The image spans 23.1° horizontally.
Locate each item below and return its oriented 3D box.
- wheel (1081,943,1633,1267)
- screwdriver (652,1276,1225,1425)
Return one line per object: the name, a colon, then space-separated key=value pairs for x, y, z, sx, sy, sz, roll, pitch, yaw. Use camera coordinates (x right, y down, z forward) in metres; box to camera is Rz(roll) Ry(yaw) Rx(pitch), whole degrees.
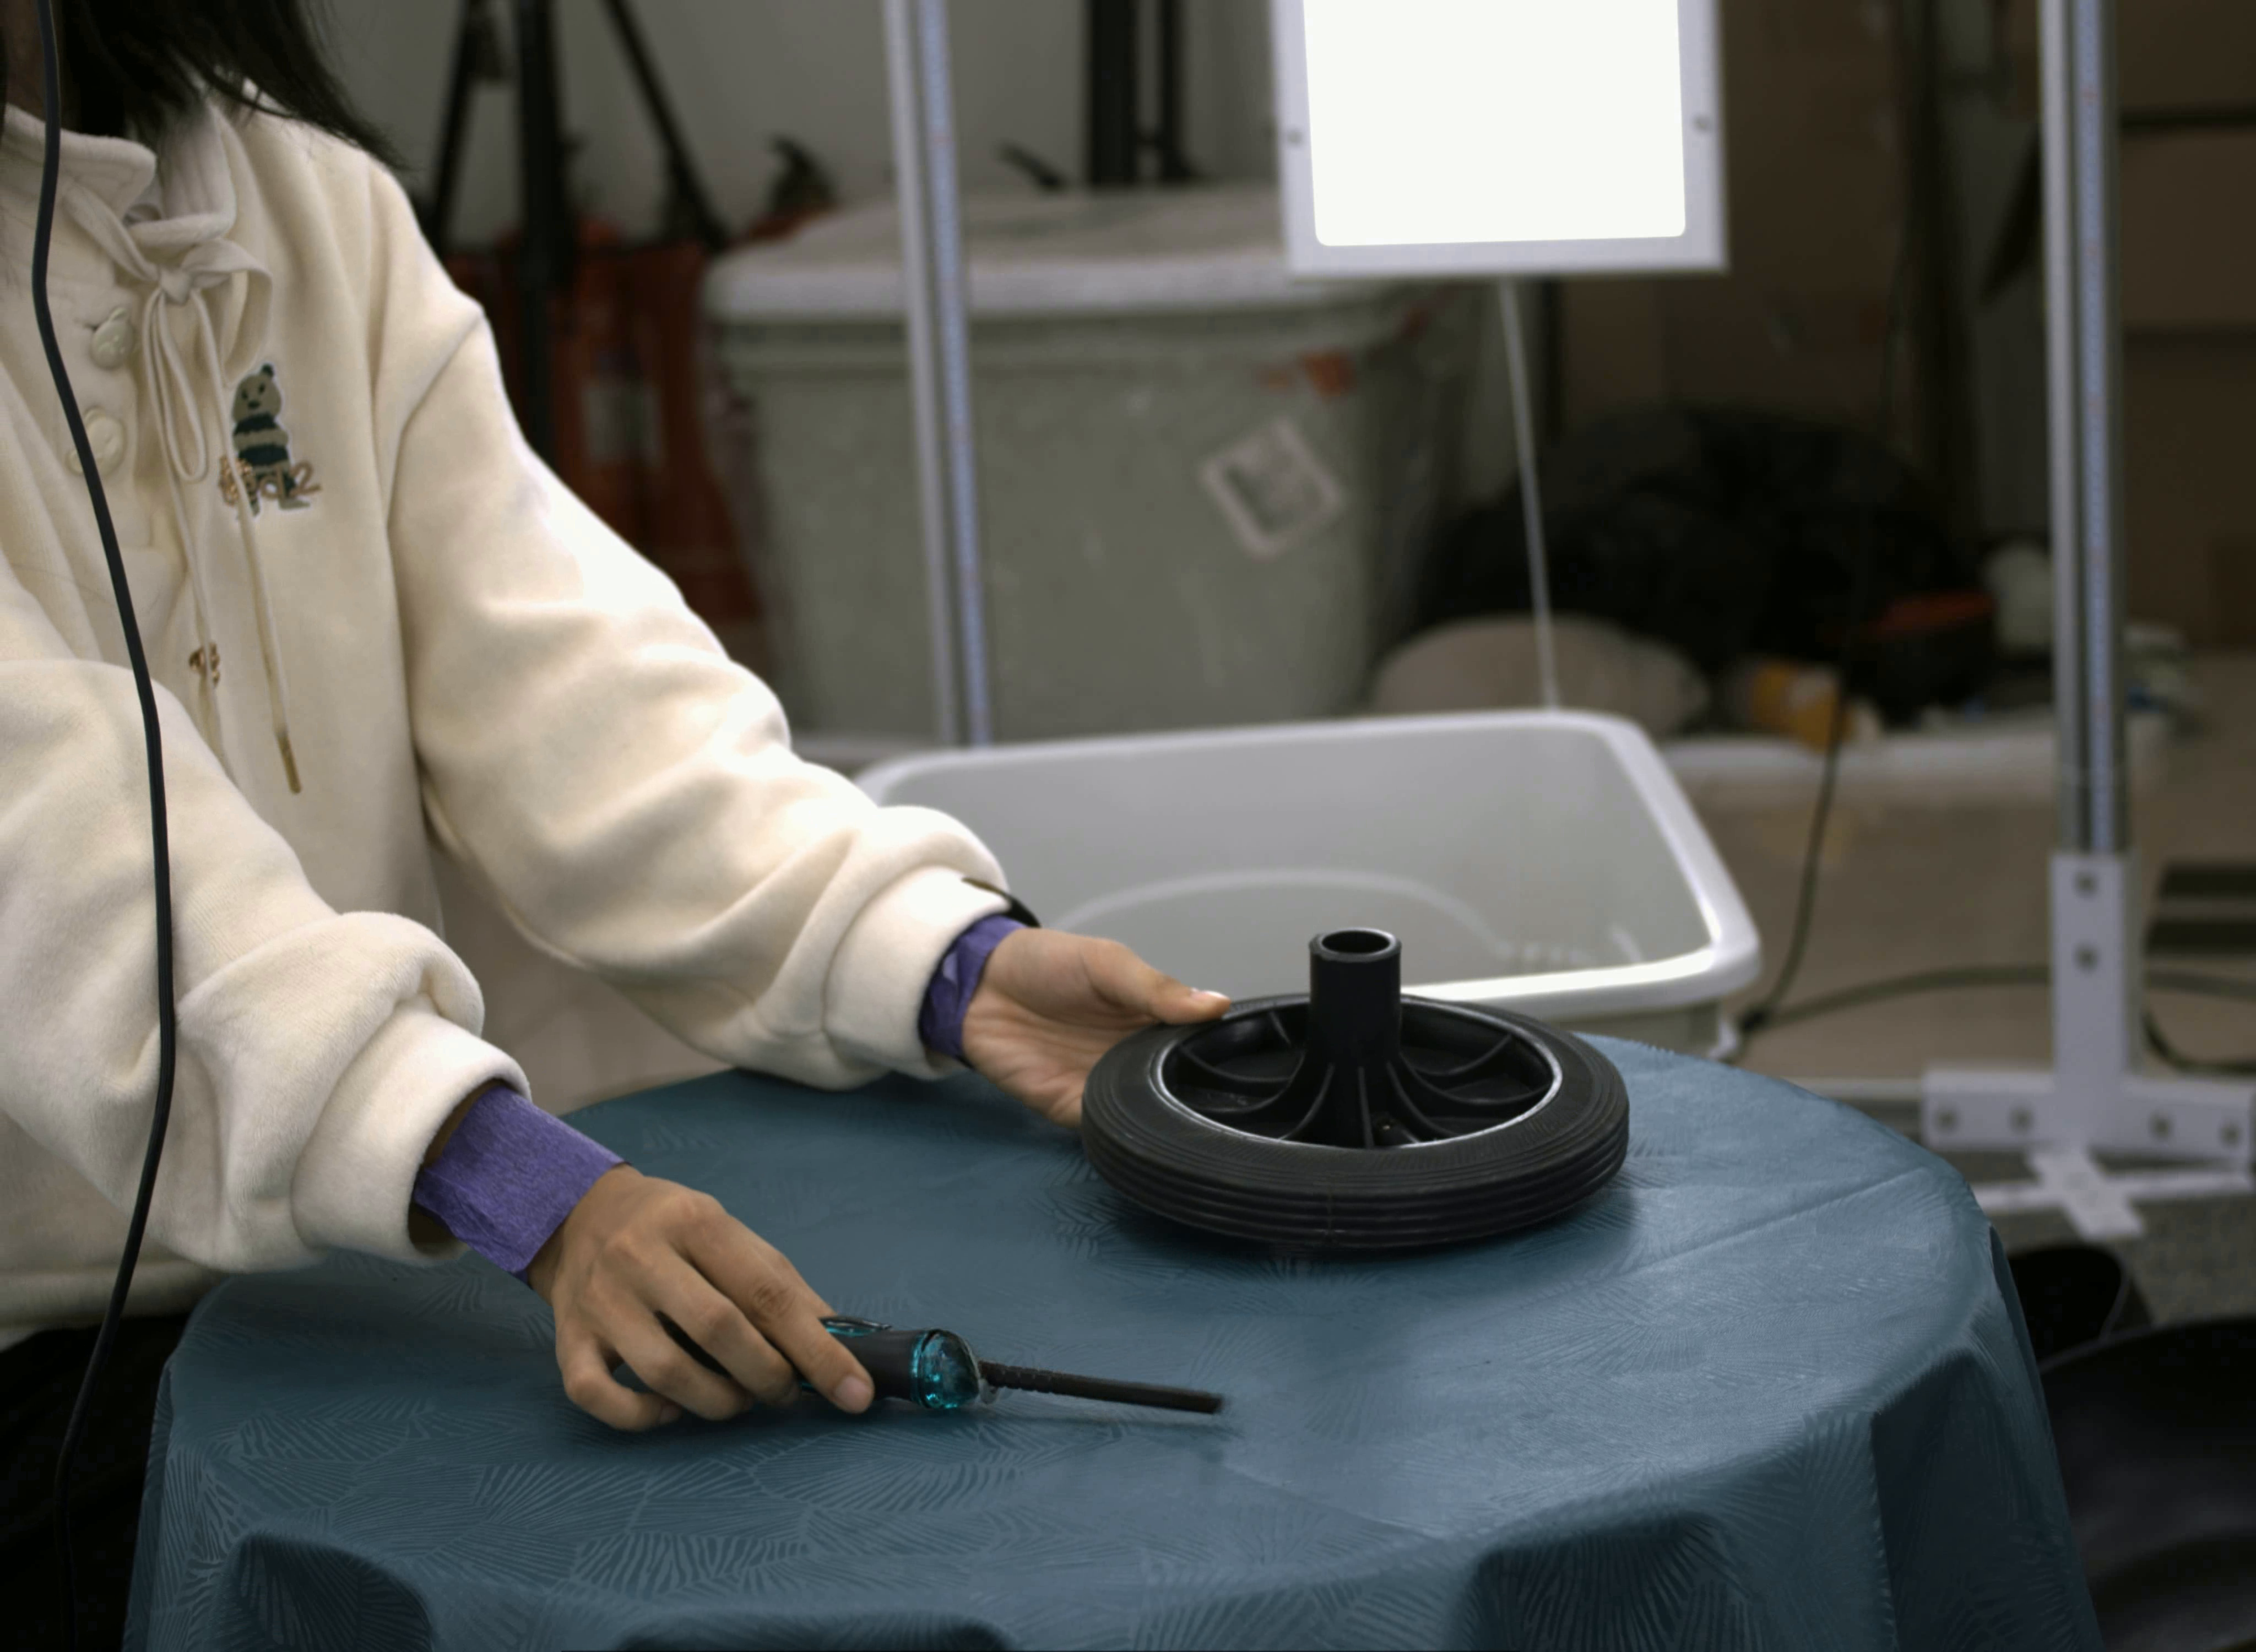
wheel: x=0.079 y=0.082 z=1.874 sx=0.193 sy=0.079 sz=0.182 roll=19 pitch=28 yaw=40
screwdriver: x=-0.059 y=0.167 z=1.699 sx=0.192 sy=0.034 sz=0.033 roll=8 pitch=17 yaw=23
